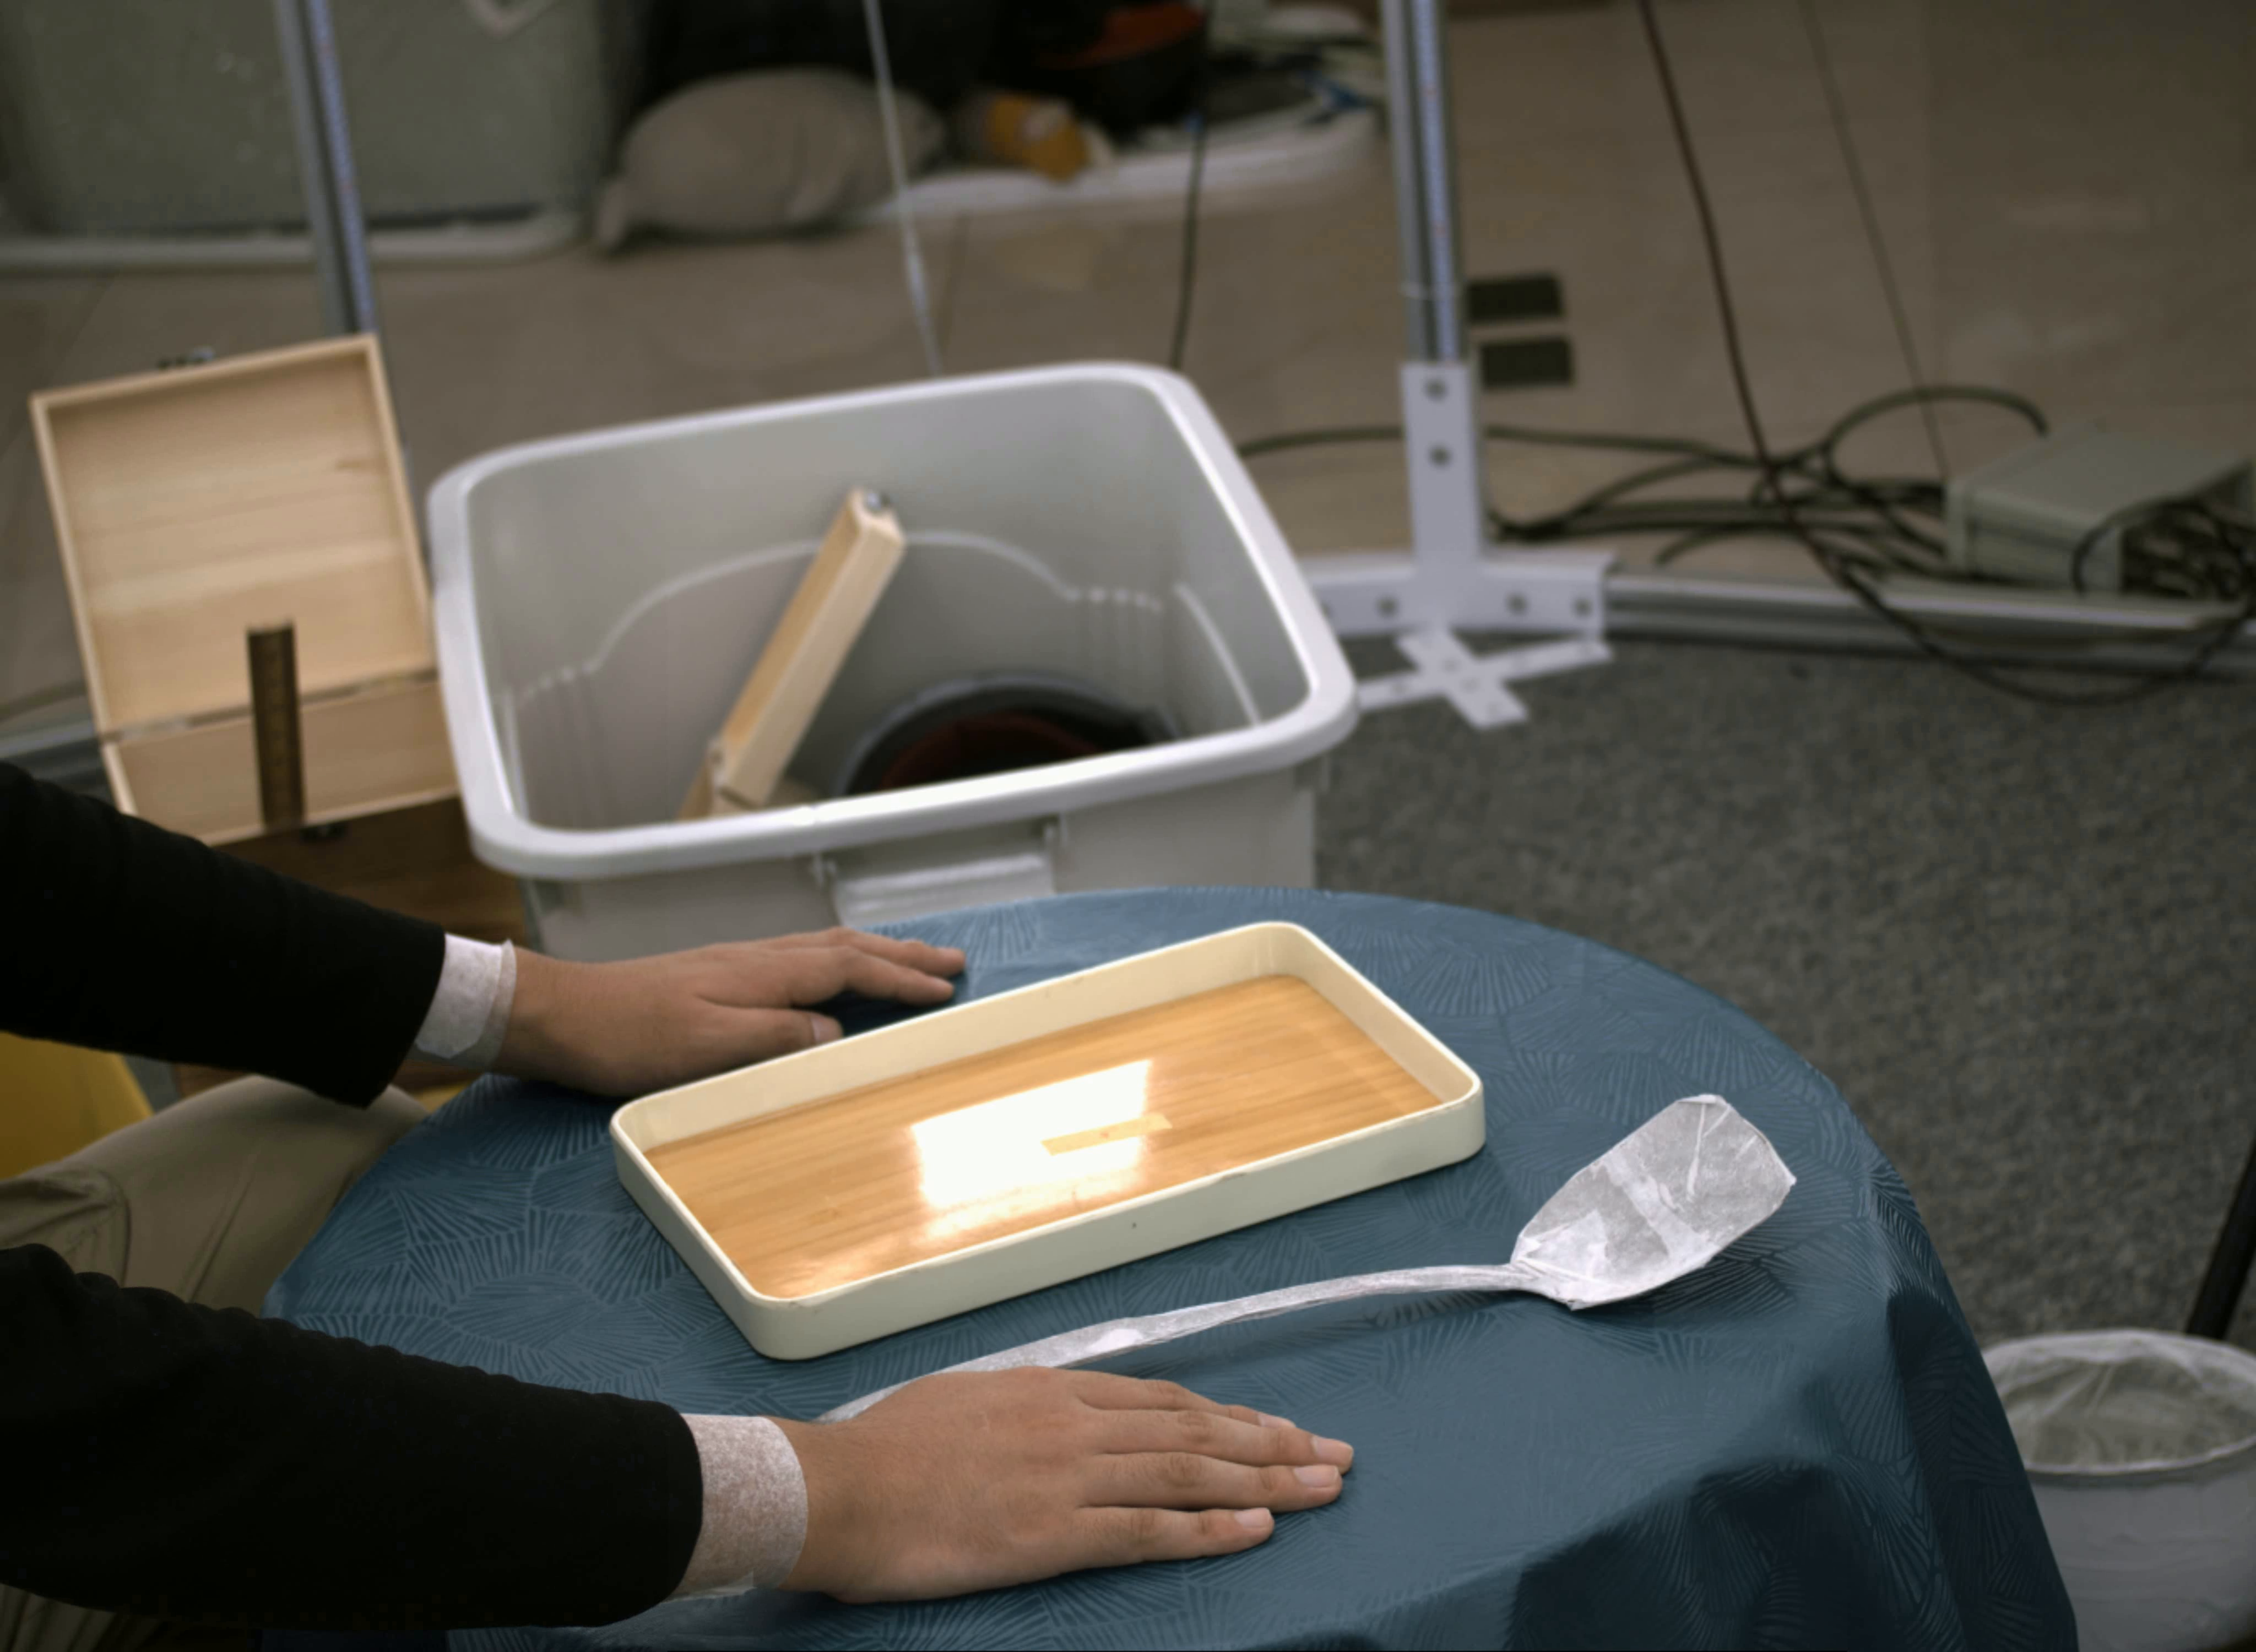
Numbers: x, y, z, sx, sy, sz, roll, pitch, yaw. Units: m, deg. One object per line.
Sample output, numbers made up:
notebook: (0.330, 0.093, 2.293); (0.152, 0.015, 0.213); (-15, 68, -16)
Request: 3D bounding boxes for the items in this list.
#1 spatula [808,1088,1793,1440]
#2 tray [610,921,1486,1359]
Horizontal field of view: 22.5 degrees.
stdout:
spatula: (0.061, 0.165, 2.032); (0.364, 0.045, 0.097); (-11, 26, -11)
tray: (-0.032, 0.116, 2.172); (0.299, 0.028, 0.189); (-15, 26, -18)
